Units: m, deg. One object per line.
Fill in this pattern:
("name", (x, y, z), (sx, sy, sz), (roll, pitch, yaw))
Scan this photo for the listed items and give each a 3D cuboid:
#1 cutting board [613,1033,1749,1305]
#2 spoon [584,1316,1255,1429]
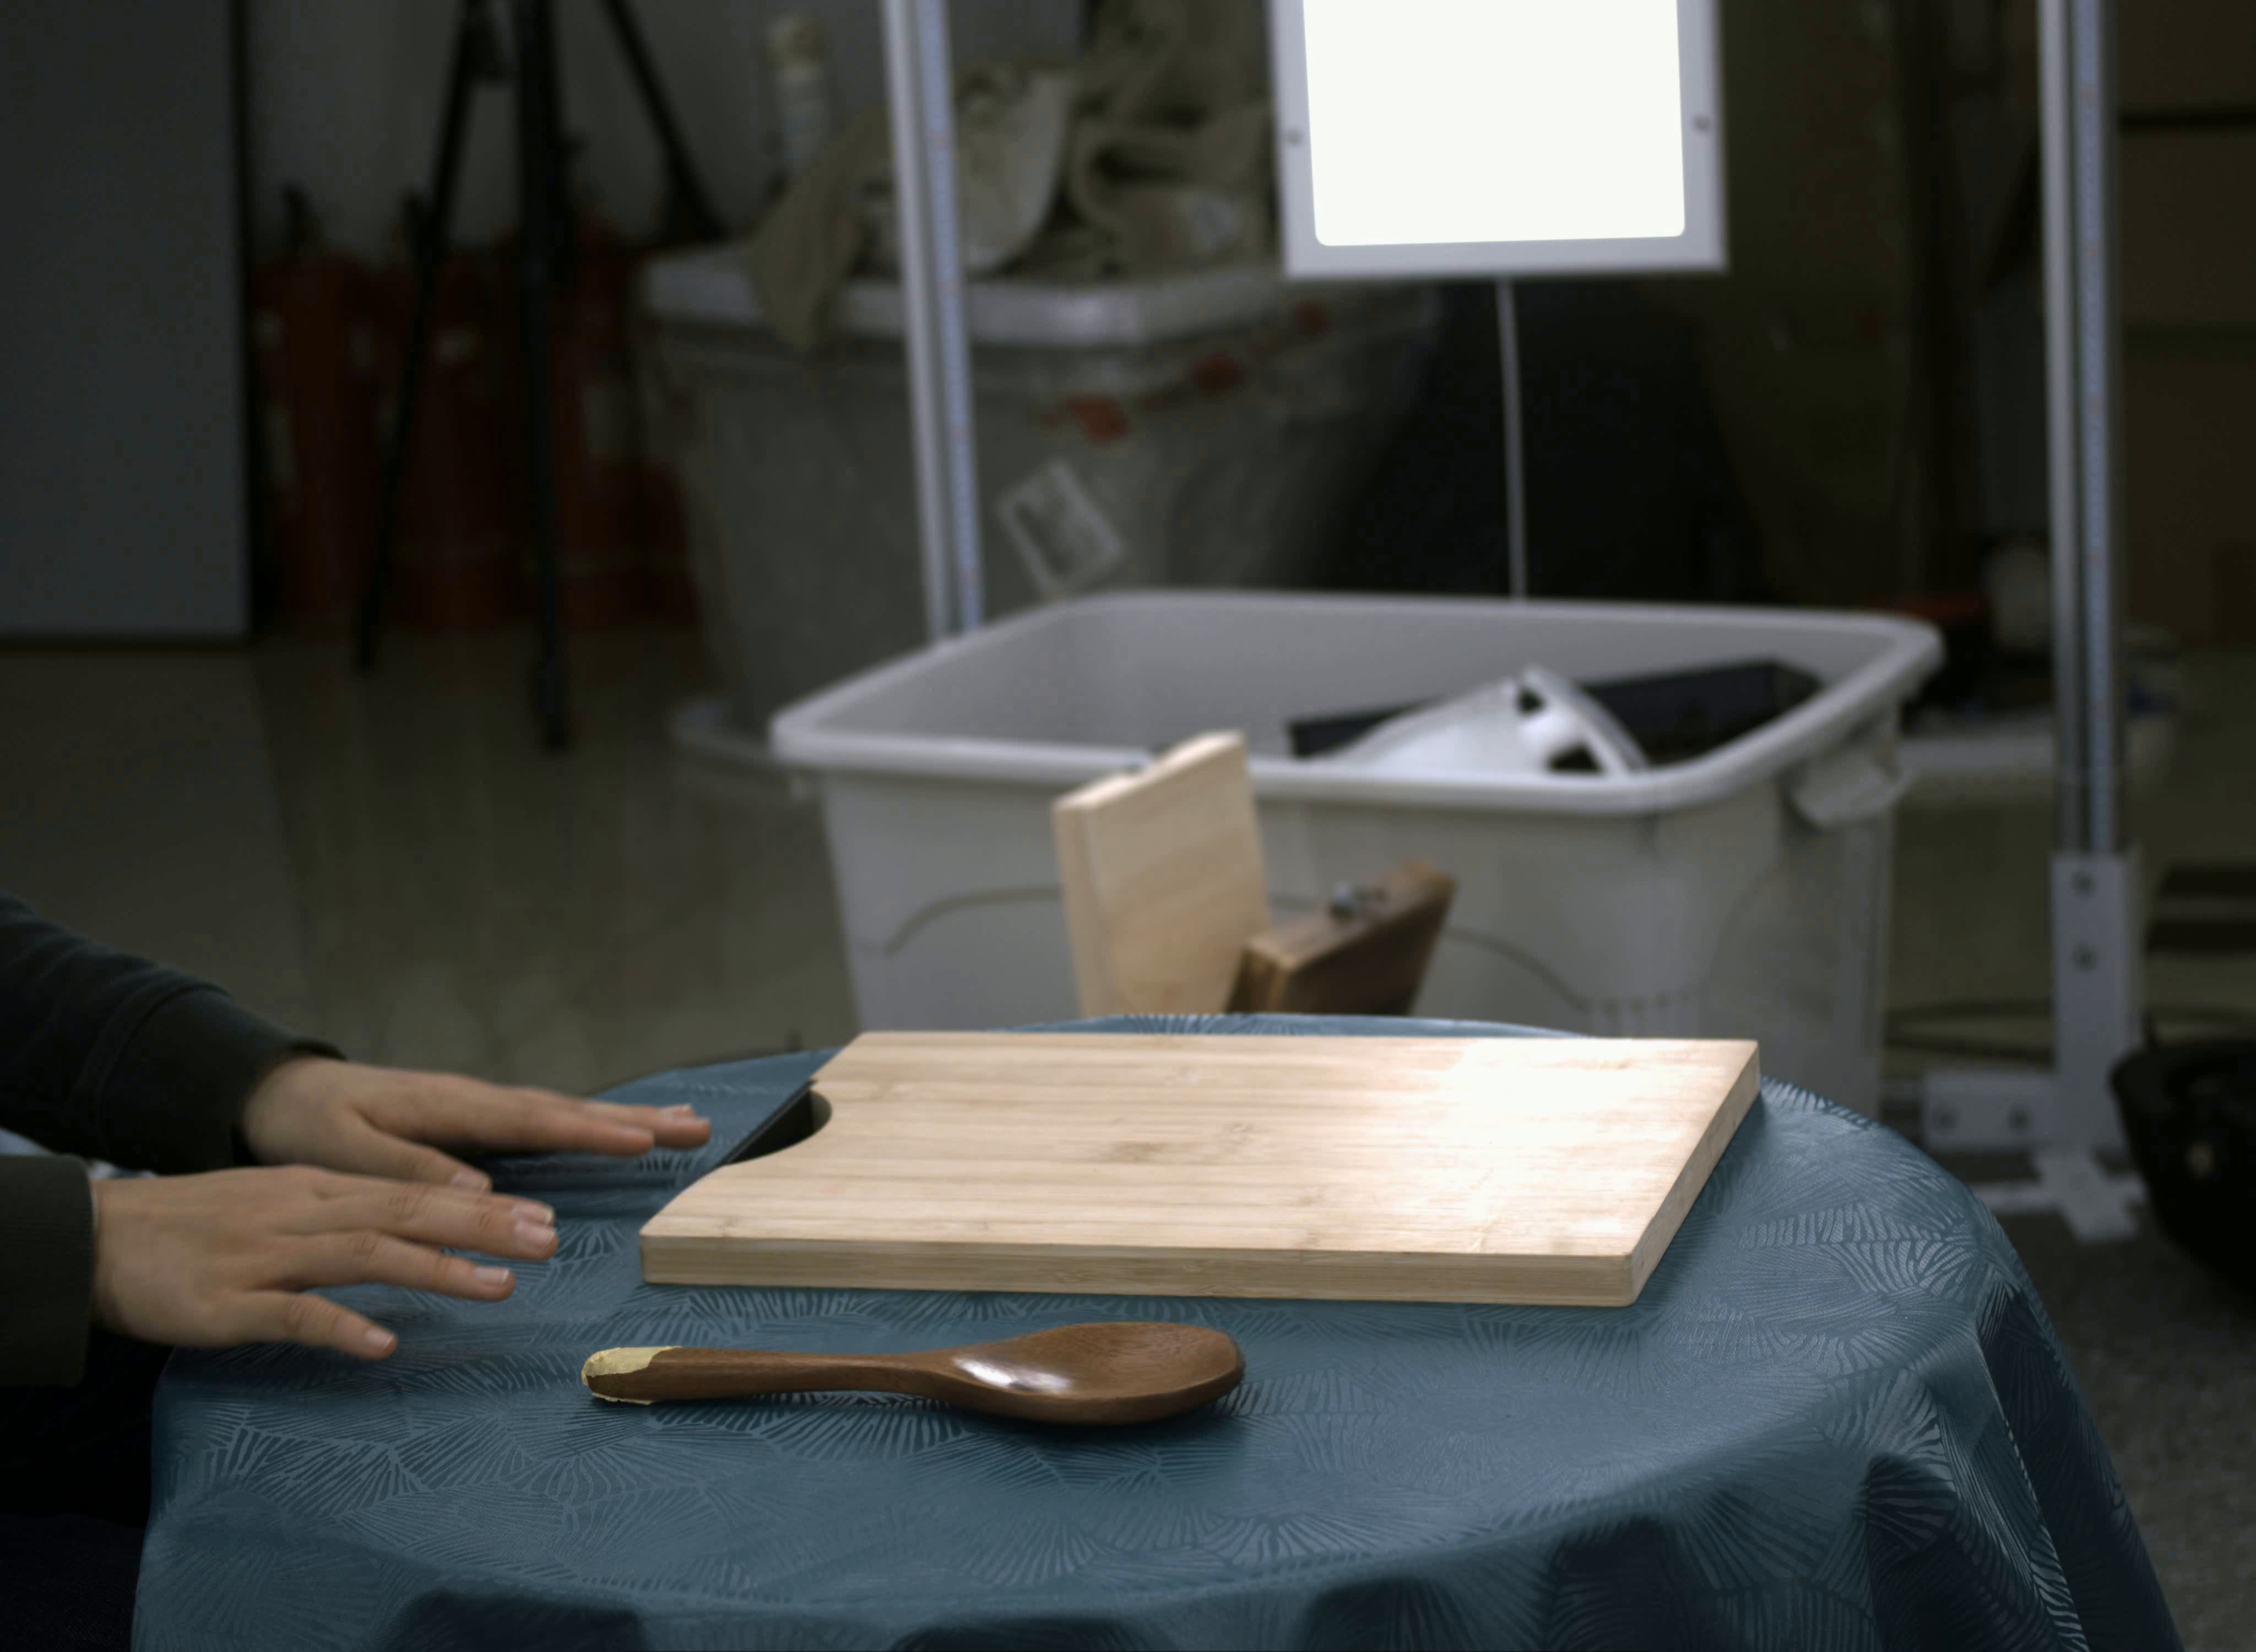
("cutting board", (0.025, 0.115, 1.901), (0.352, 0.023, 0.247), (-1, 14, 18))
("spoon", (-0.066, 0.170, 1.707), (0.218, 0.017, 0.074), (0, 16, 17))
